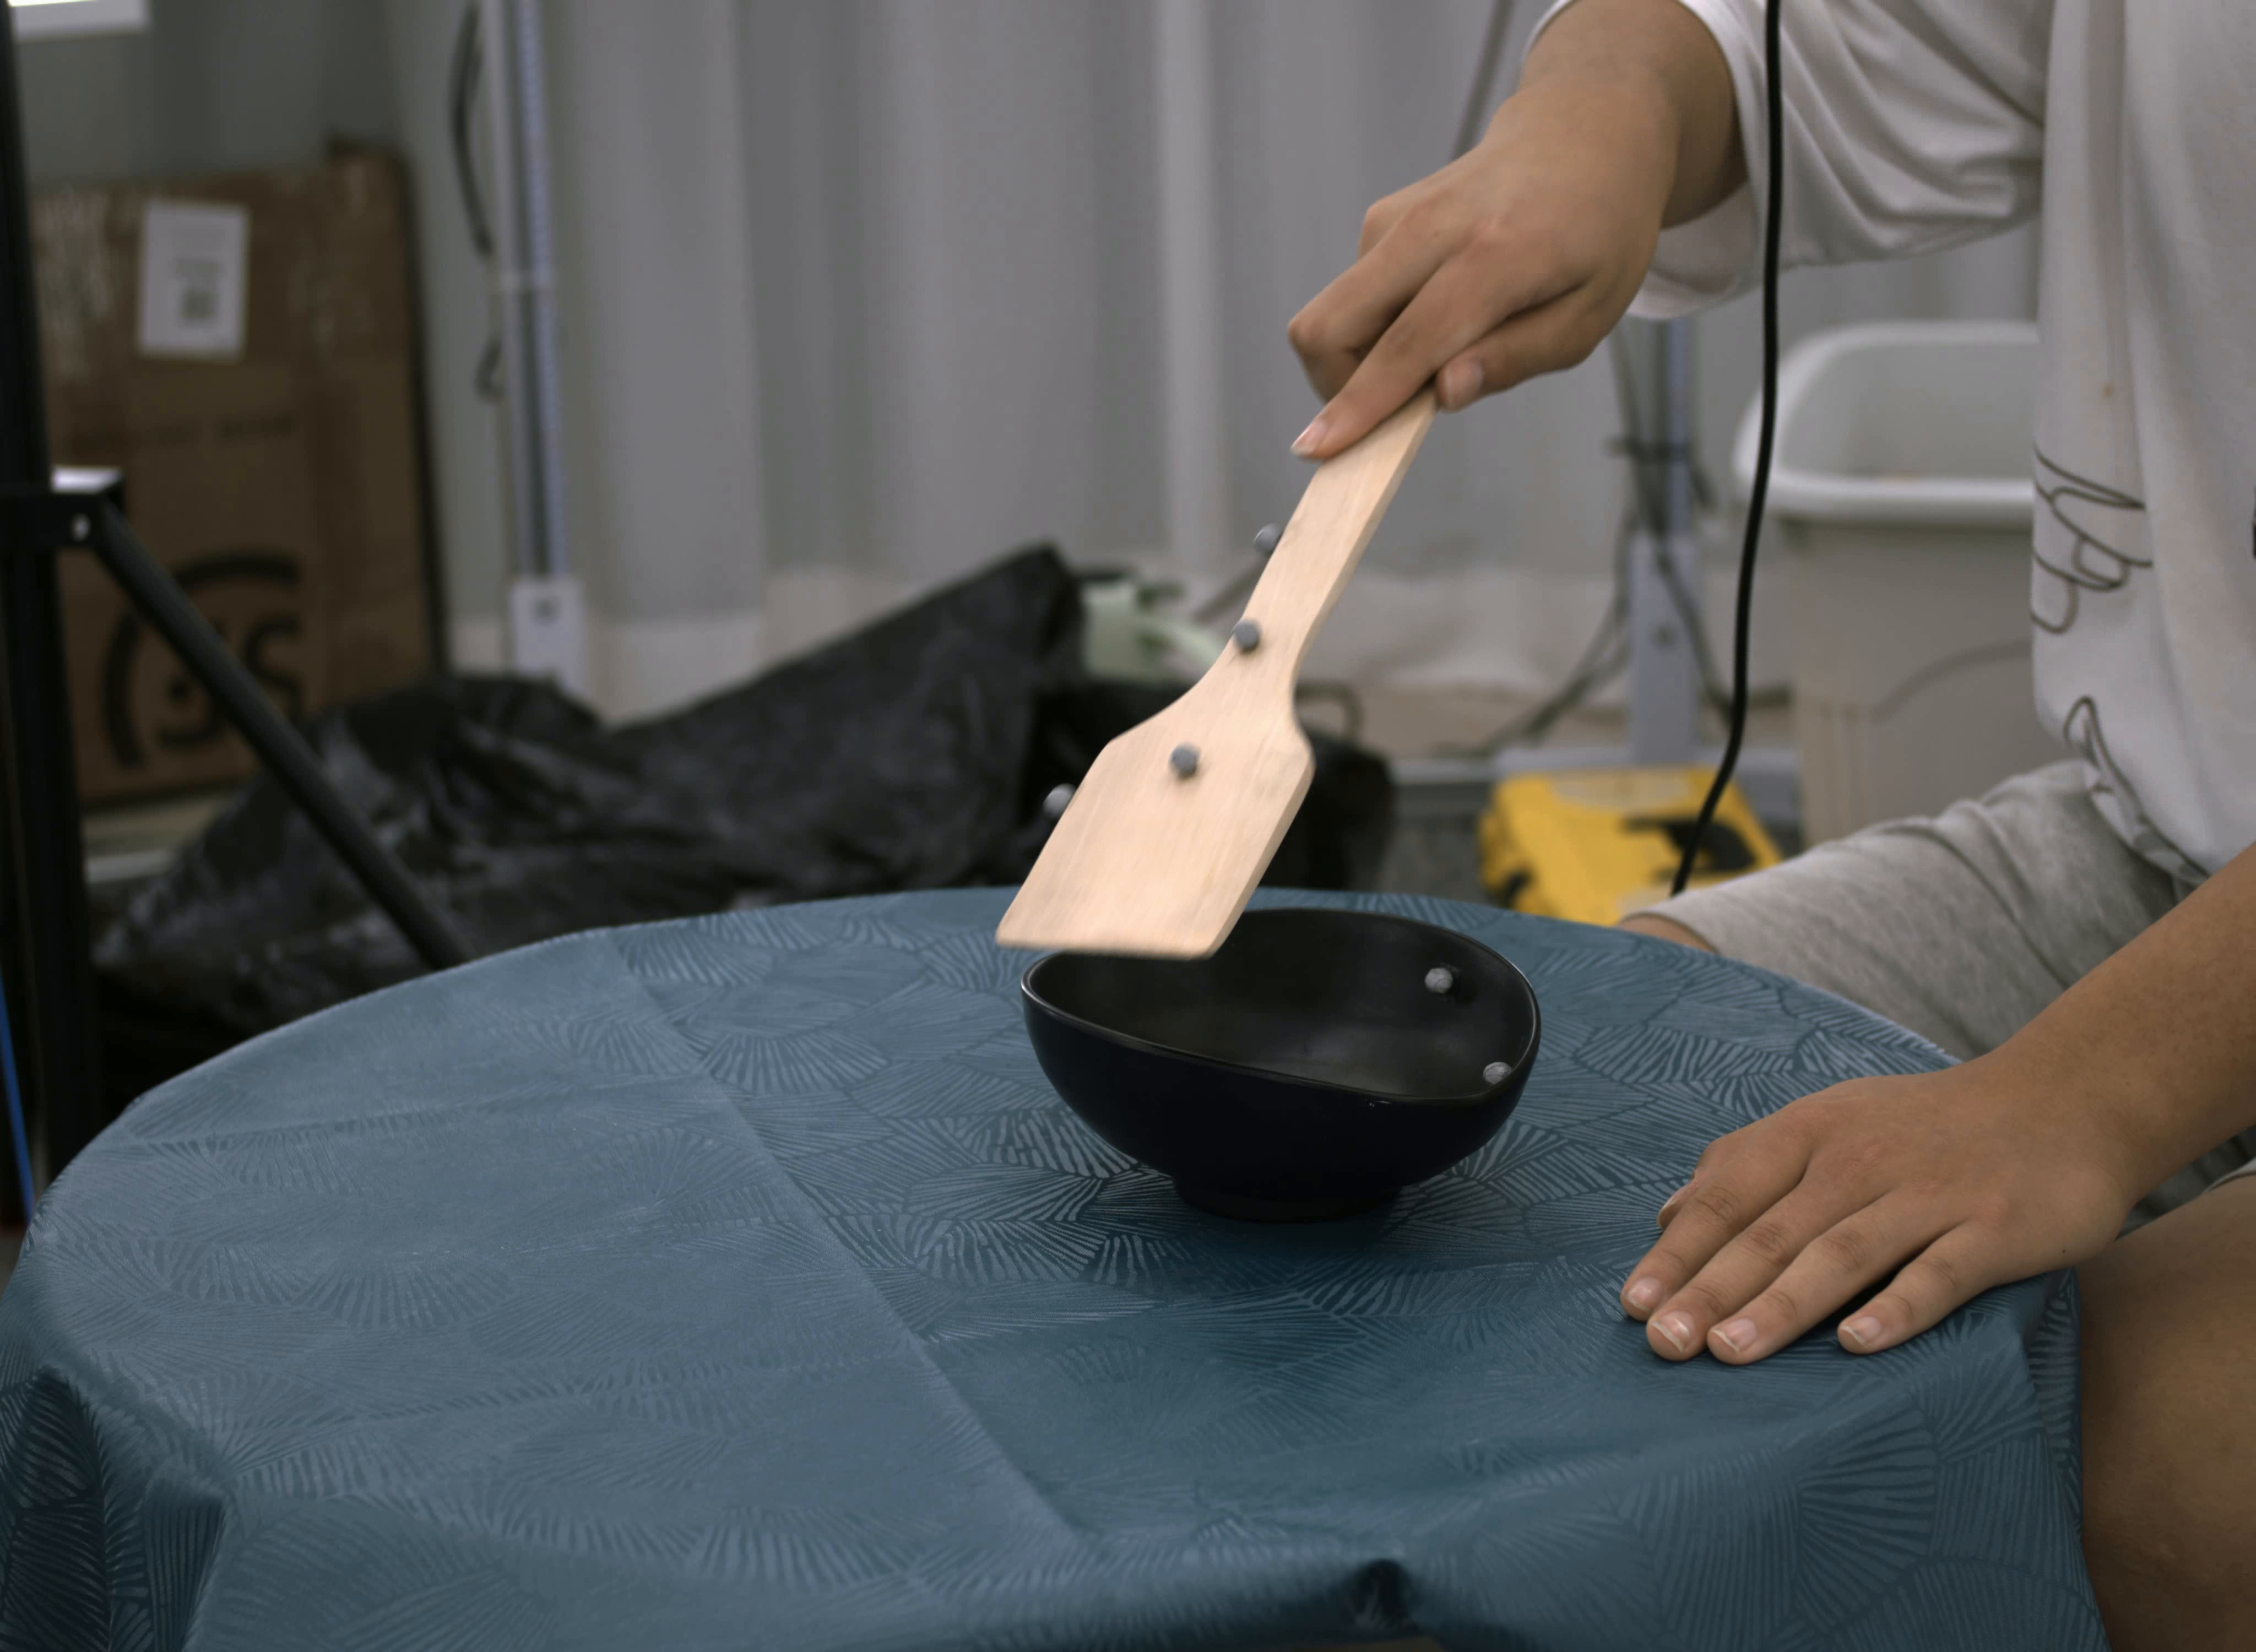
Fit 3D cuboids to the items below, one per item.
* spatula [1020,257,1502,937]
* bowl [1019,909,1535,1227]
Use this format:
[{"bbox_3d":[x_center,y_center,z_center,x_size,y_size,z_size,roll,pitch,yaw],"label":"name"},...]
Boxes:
[{"bbox_3d":[0.051,-0.071,1.550,0.073,0.010,0.292,1,45,30],"label":"spatula"},{"bbox_3d":[0.045,0.075,1.555,0.134,0.066,0.174,-17,23,-40],"label":"bowl"}]
